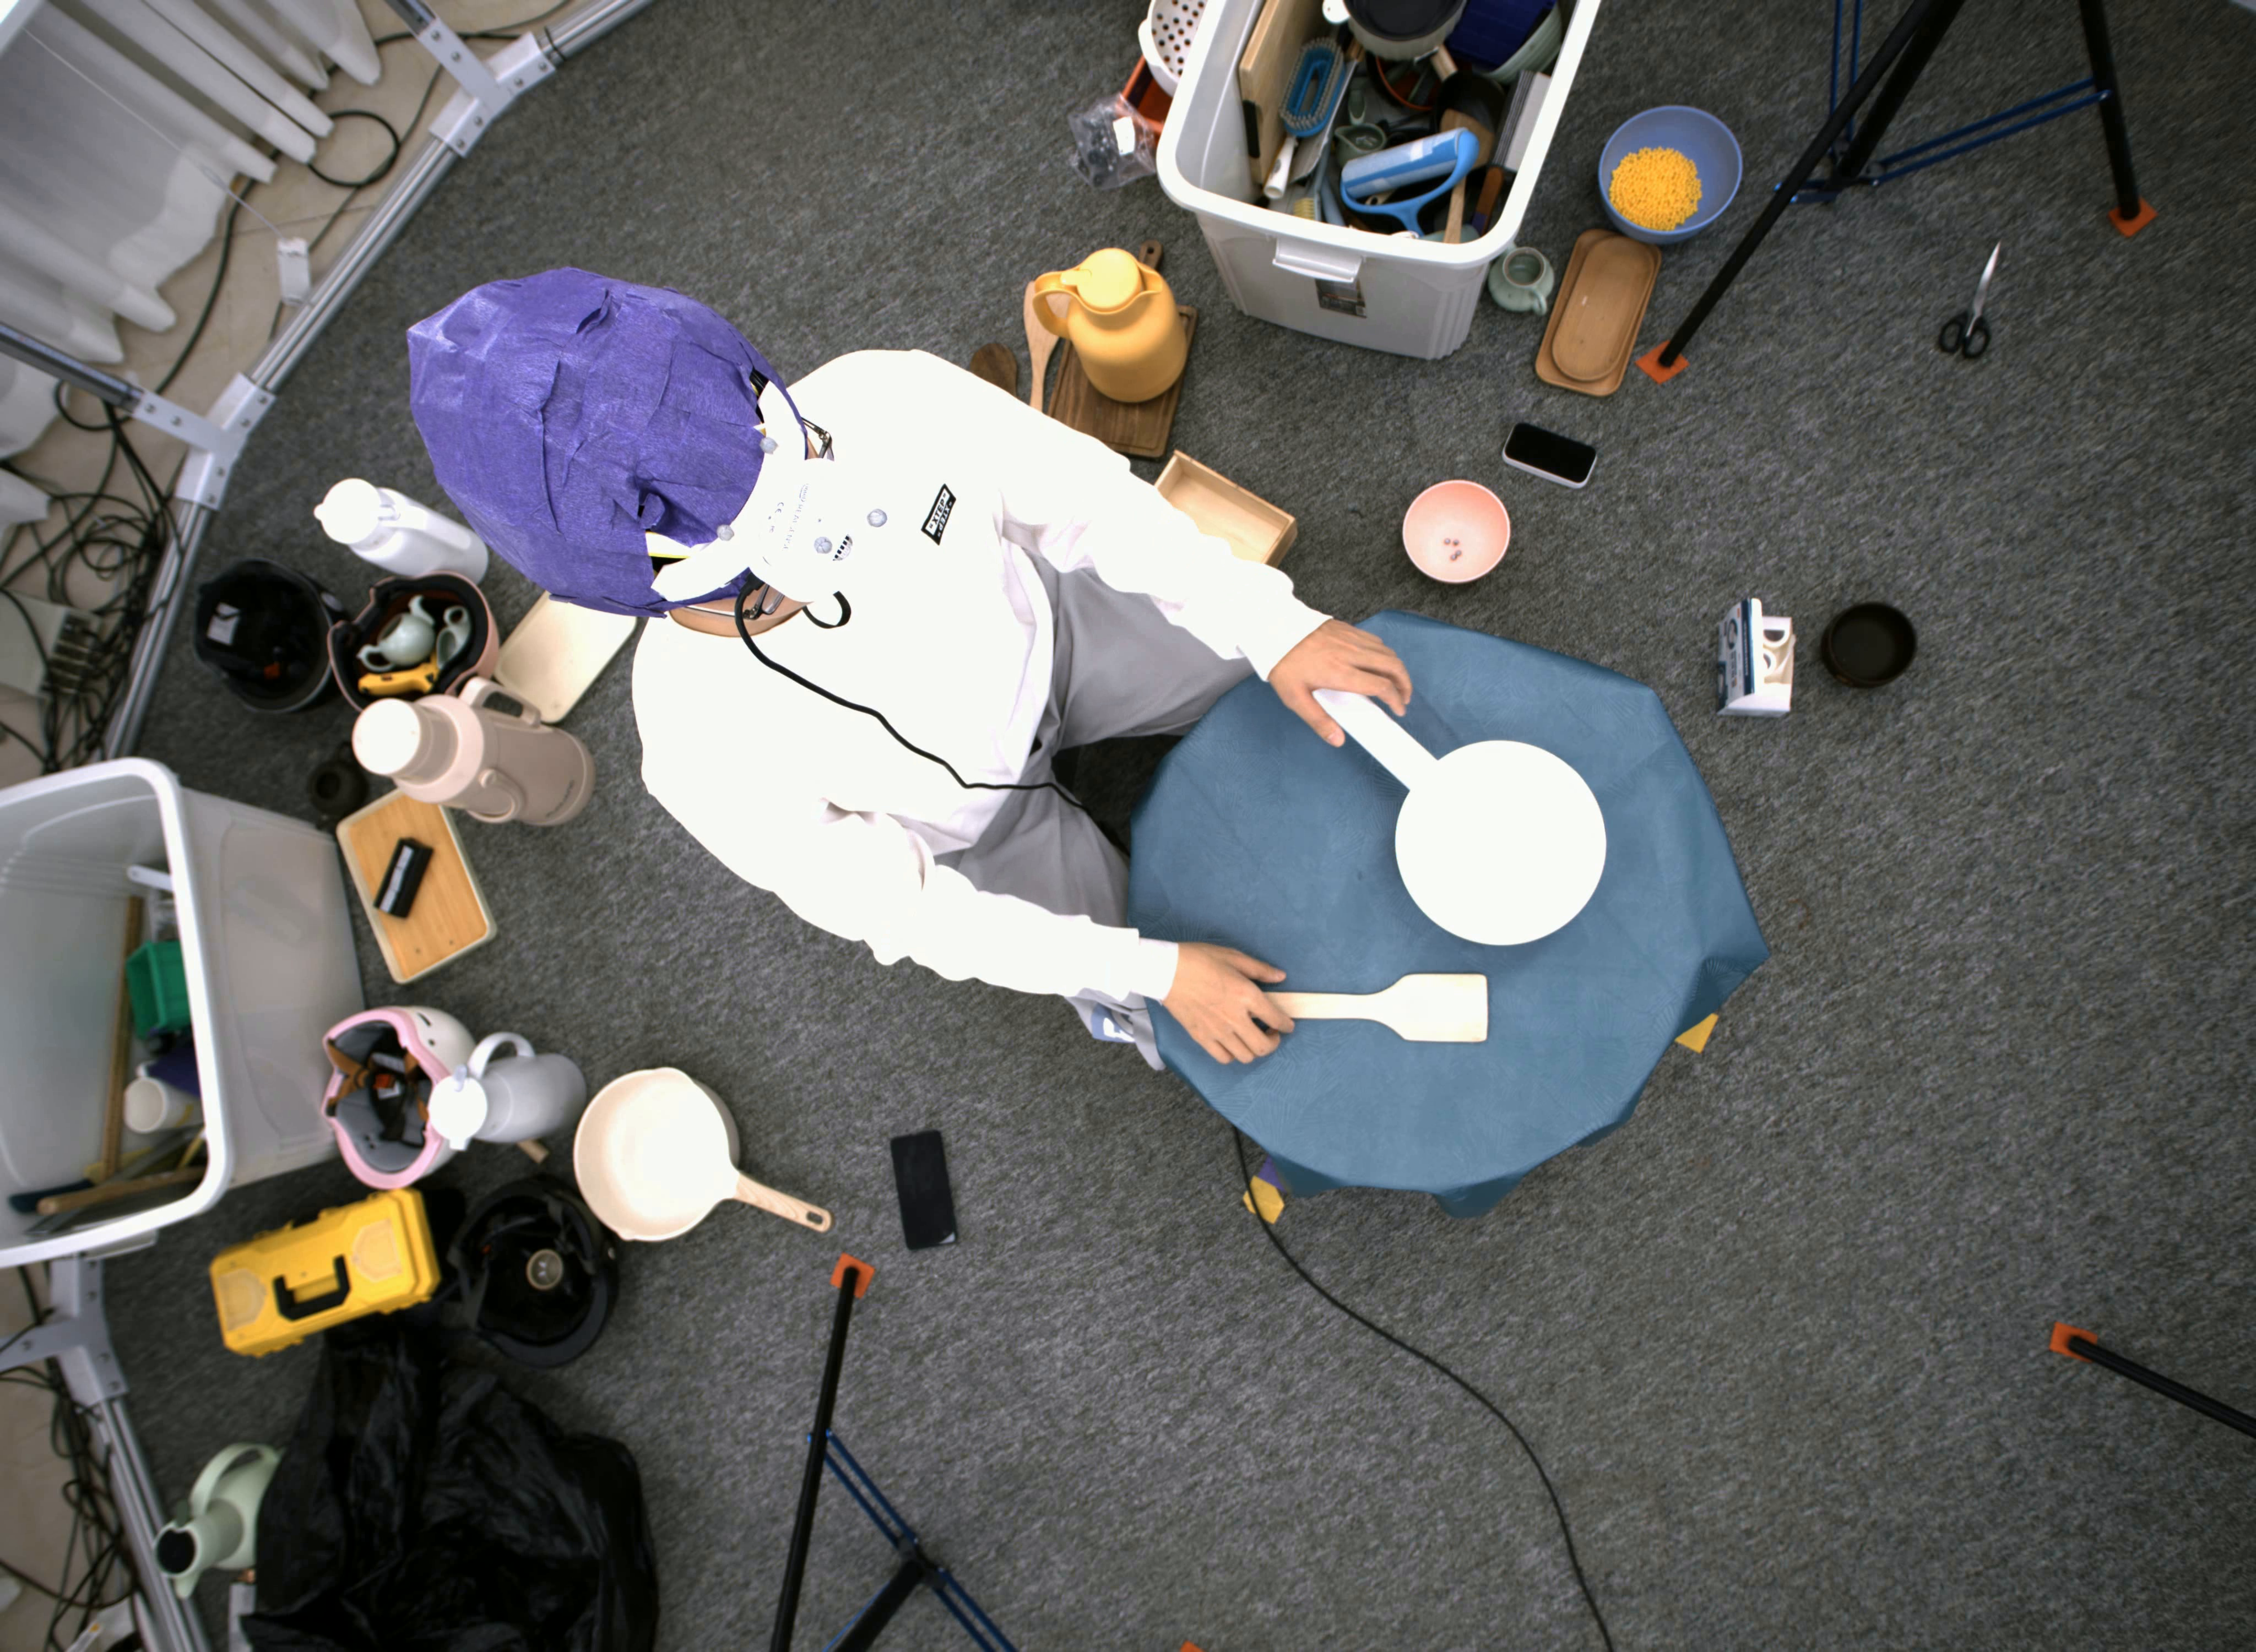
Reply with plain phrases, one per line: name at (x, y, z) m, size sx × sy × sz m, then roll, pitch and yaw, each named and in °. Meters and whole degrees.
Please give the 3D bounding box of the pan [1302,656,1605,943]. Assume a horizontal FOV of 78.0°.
pan at (0.319, -0.035, 1.407) m, size 0.353 × 0.102 × 0.202 m, roll 44°, pitch 95°, yaw 11°

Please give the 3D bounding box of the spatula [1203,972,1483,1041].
spatula at (0.224, 0.187, 1.457) m, size 0.294 × 0.010 × 0.072 m, roll -1°, pitch 88°, yaw 11°
